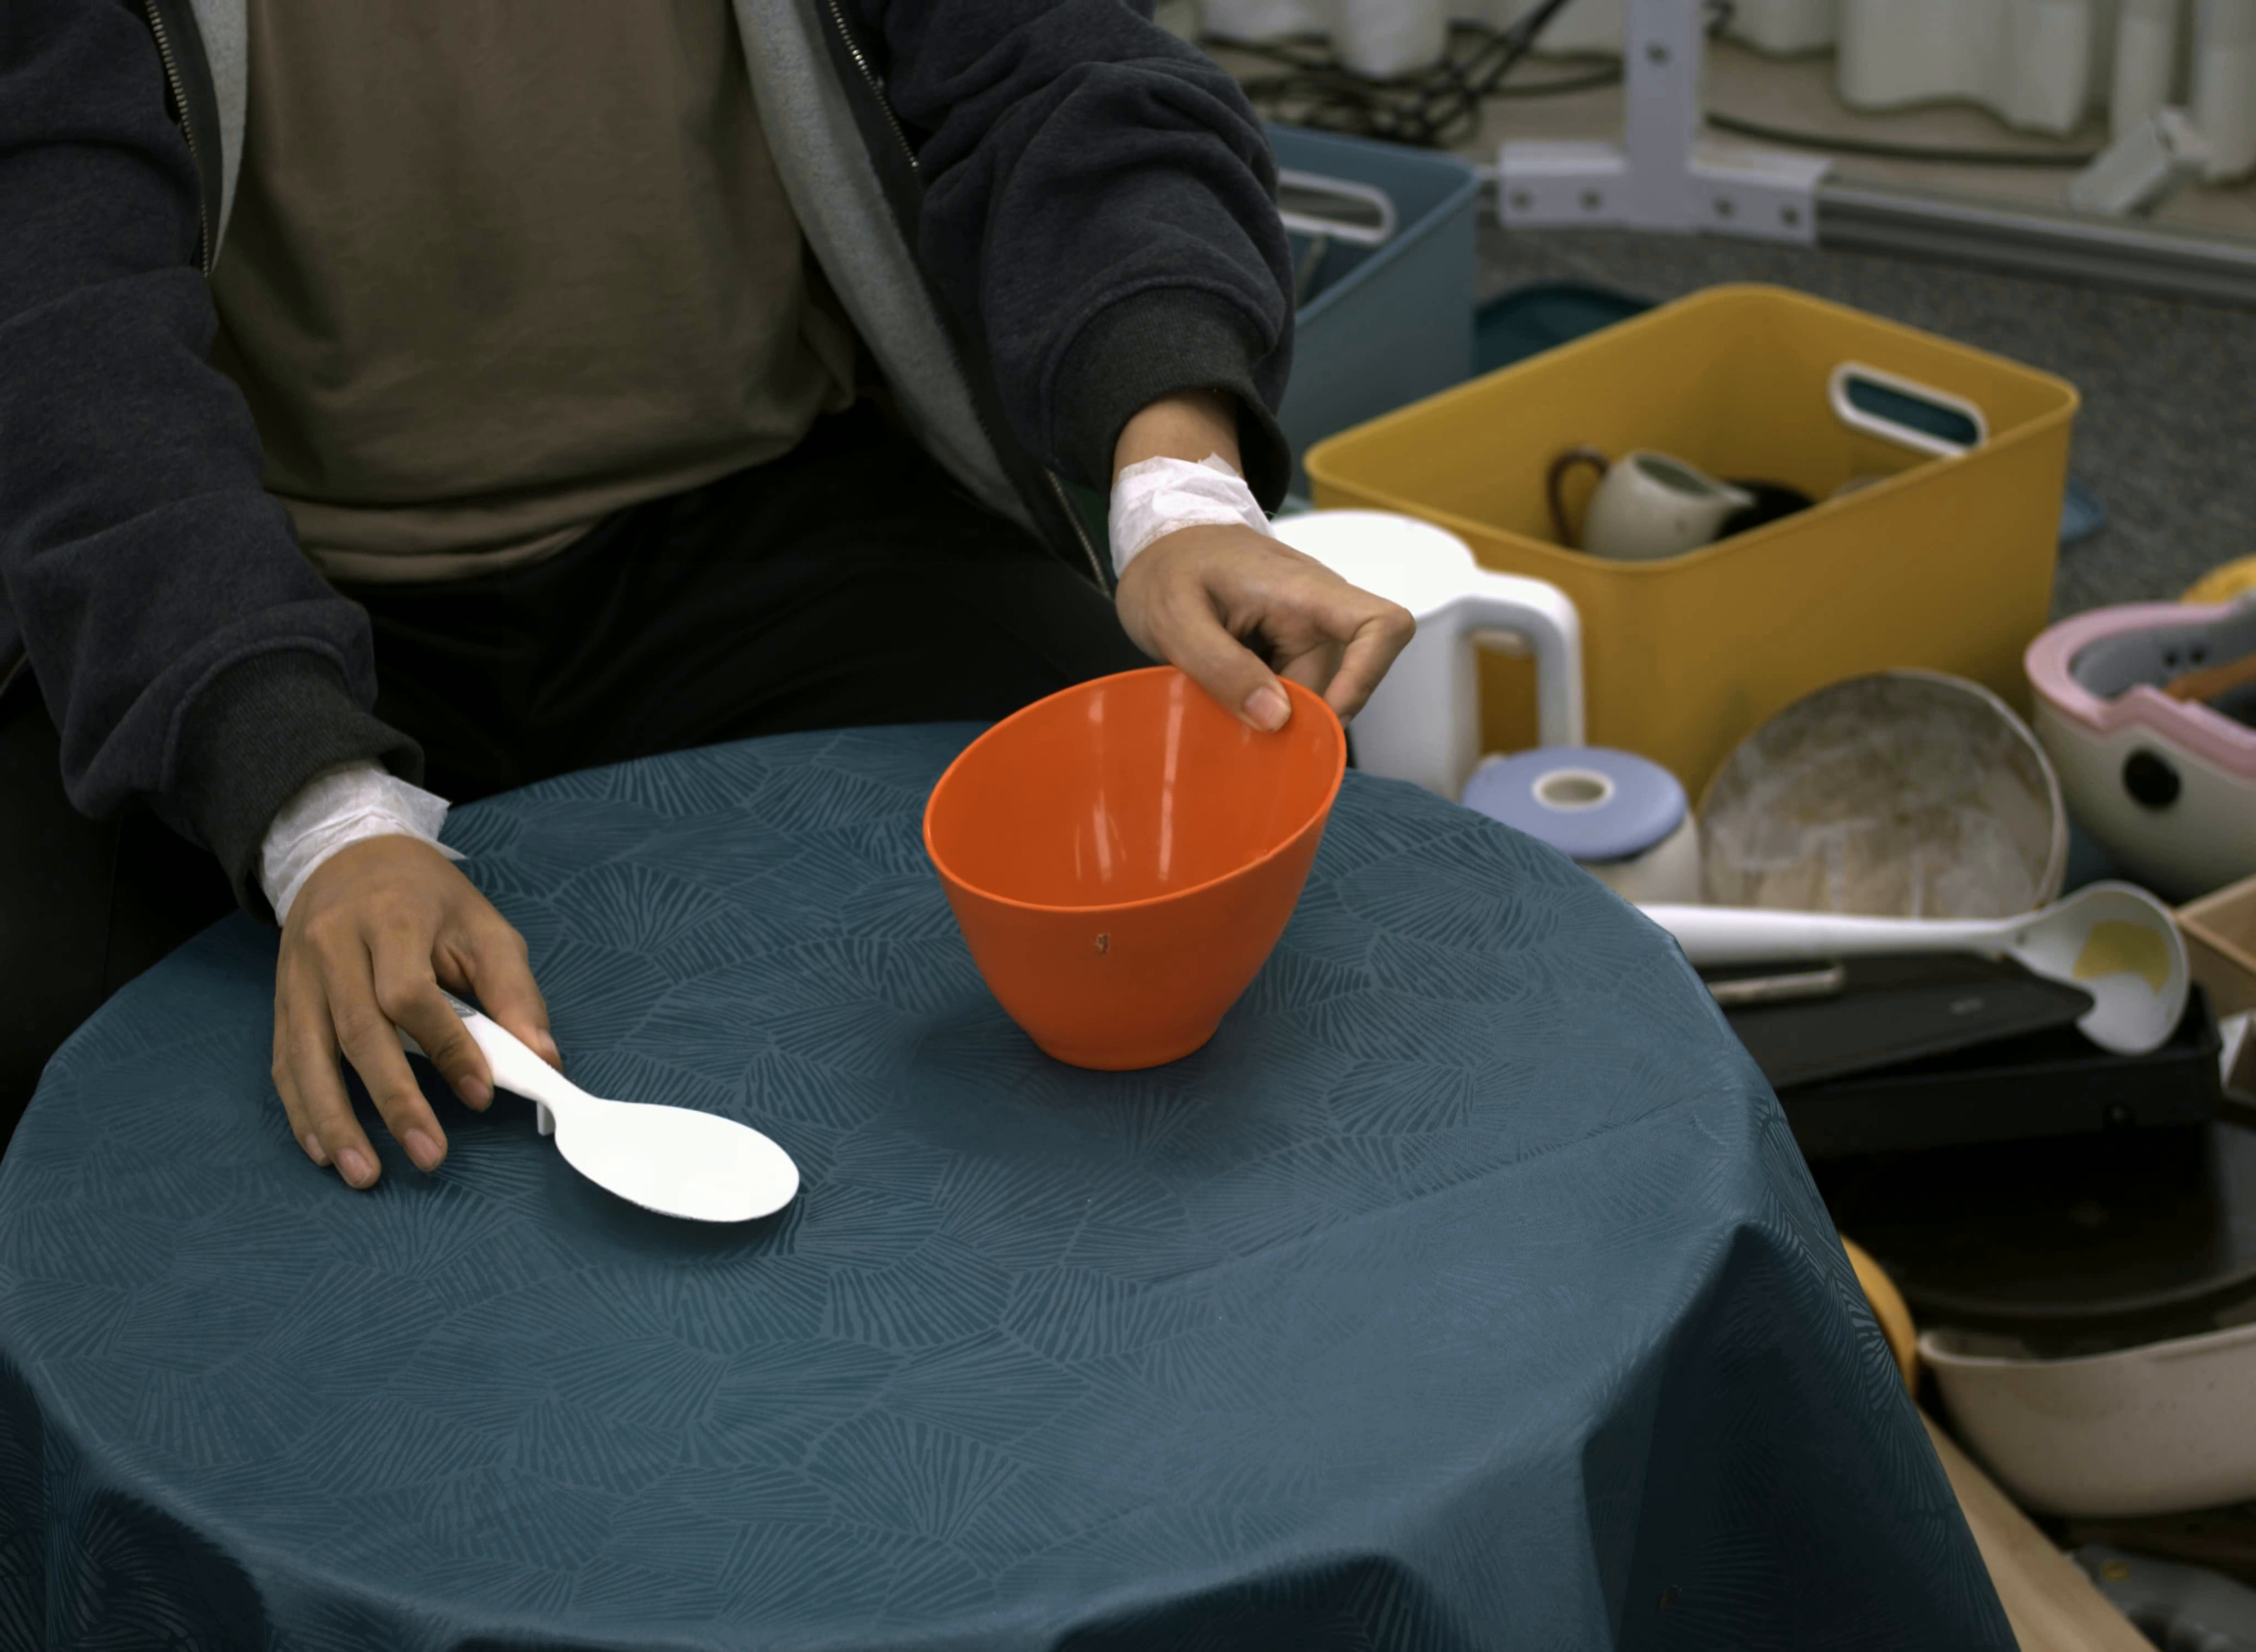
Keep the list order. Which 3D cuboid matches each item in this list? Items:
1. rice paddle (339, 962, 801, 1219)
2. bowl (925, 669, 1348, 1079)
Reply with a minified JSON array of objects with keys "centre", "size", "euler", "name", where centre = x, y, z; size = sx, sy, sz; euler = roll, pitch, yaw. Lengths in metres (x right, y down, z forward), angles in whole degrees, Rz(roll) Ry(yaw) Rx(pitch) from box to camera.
[{"centre":[-0.190,0.092,1.903],"size":[0.205,0.029,0.069],"euler":[23,29,38],"name":"rice paddle"},{"centre":[0.006,0.023,1.944],"size":[0.147,0.103,0.150],"euler":[-3,28,2],"name":"bowl"}]
